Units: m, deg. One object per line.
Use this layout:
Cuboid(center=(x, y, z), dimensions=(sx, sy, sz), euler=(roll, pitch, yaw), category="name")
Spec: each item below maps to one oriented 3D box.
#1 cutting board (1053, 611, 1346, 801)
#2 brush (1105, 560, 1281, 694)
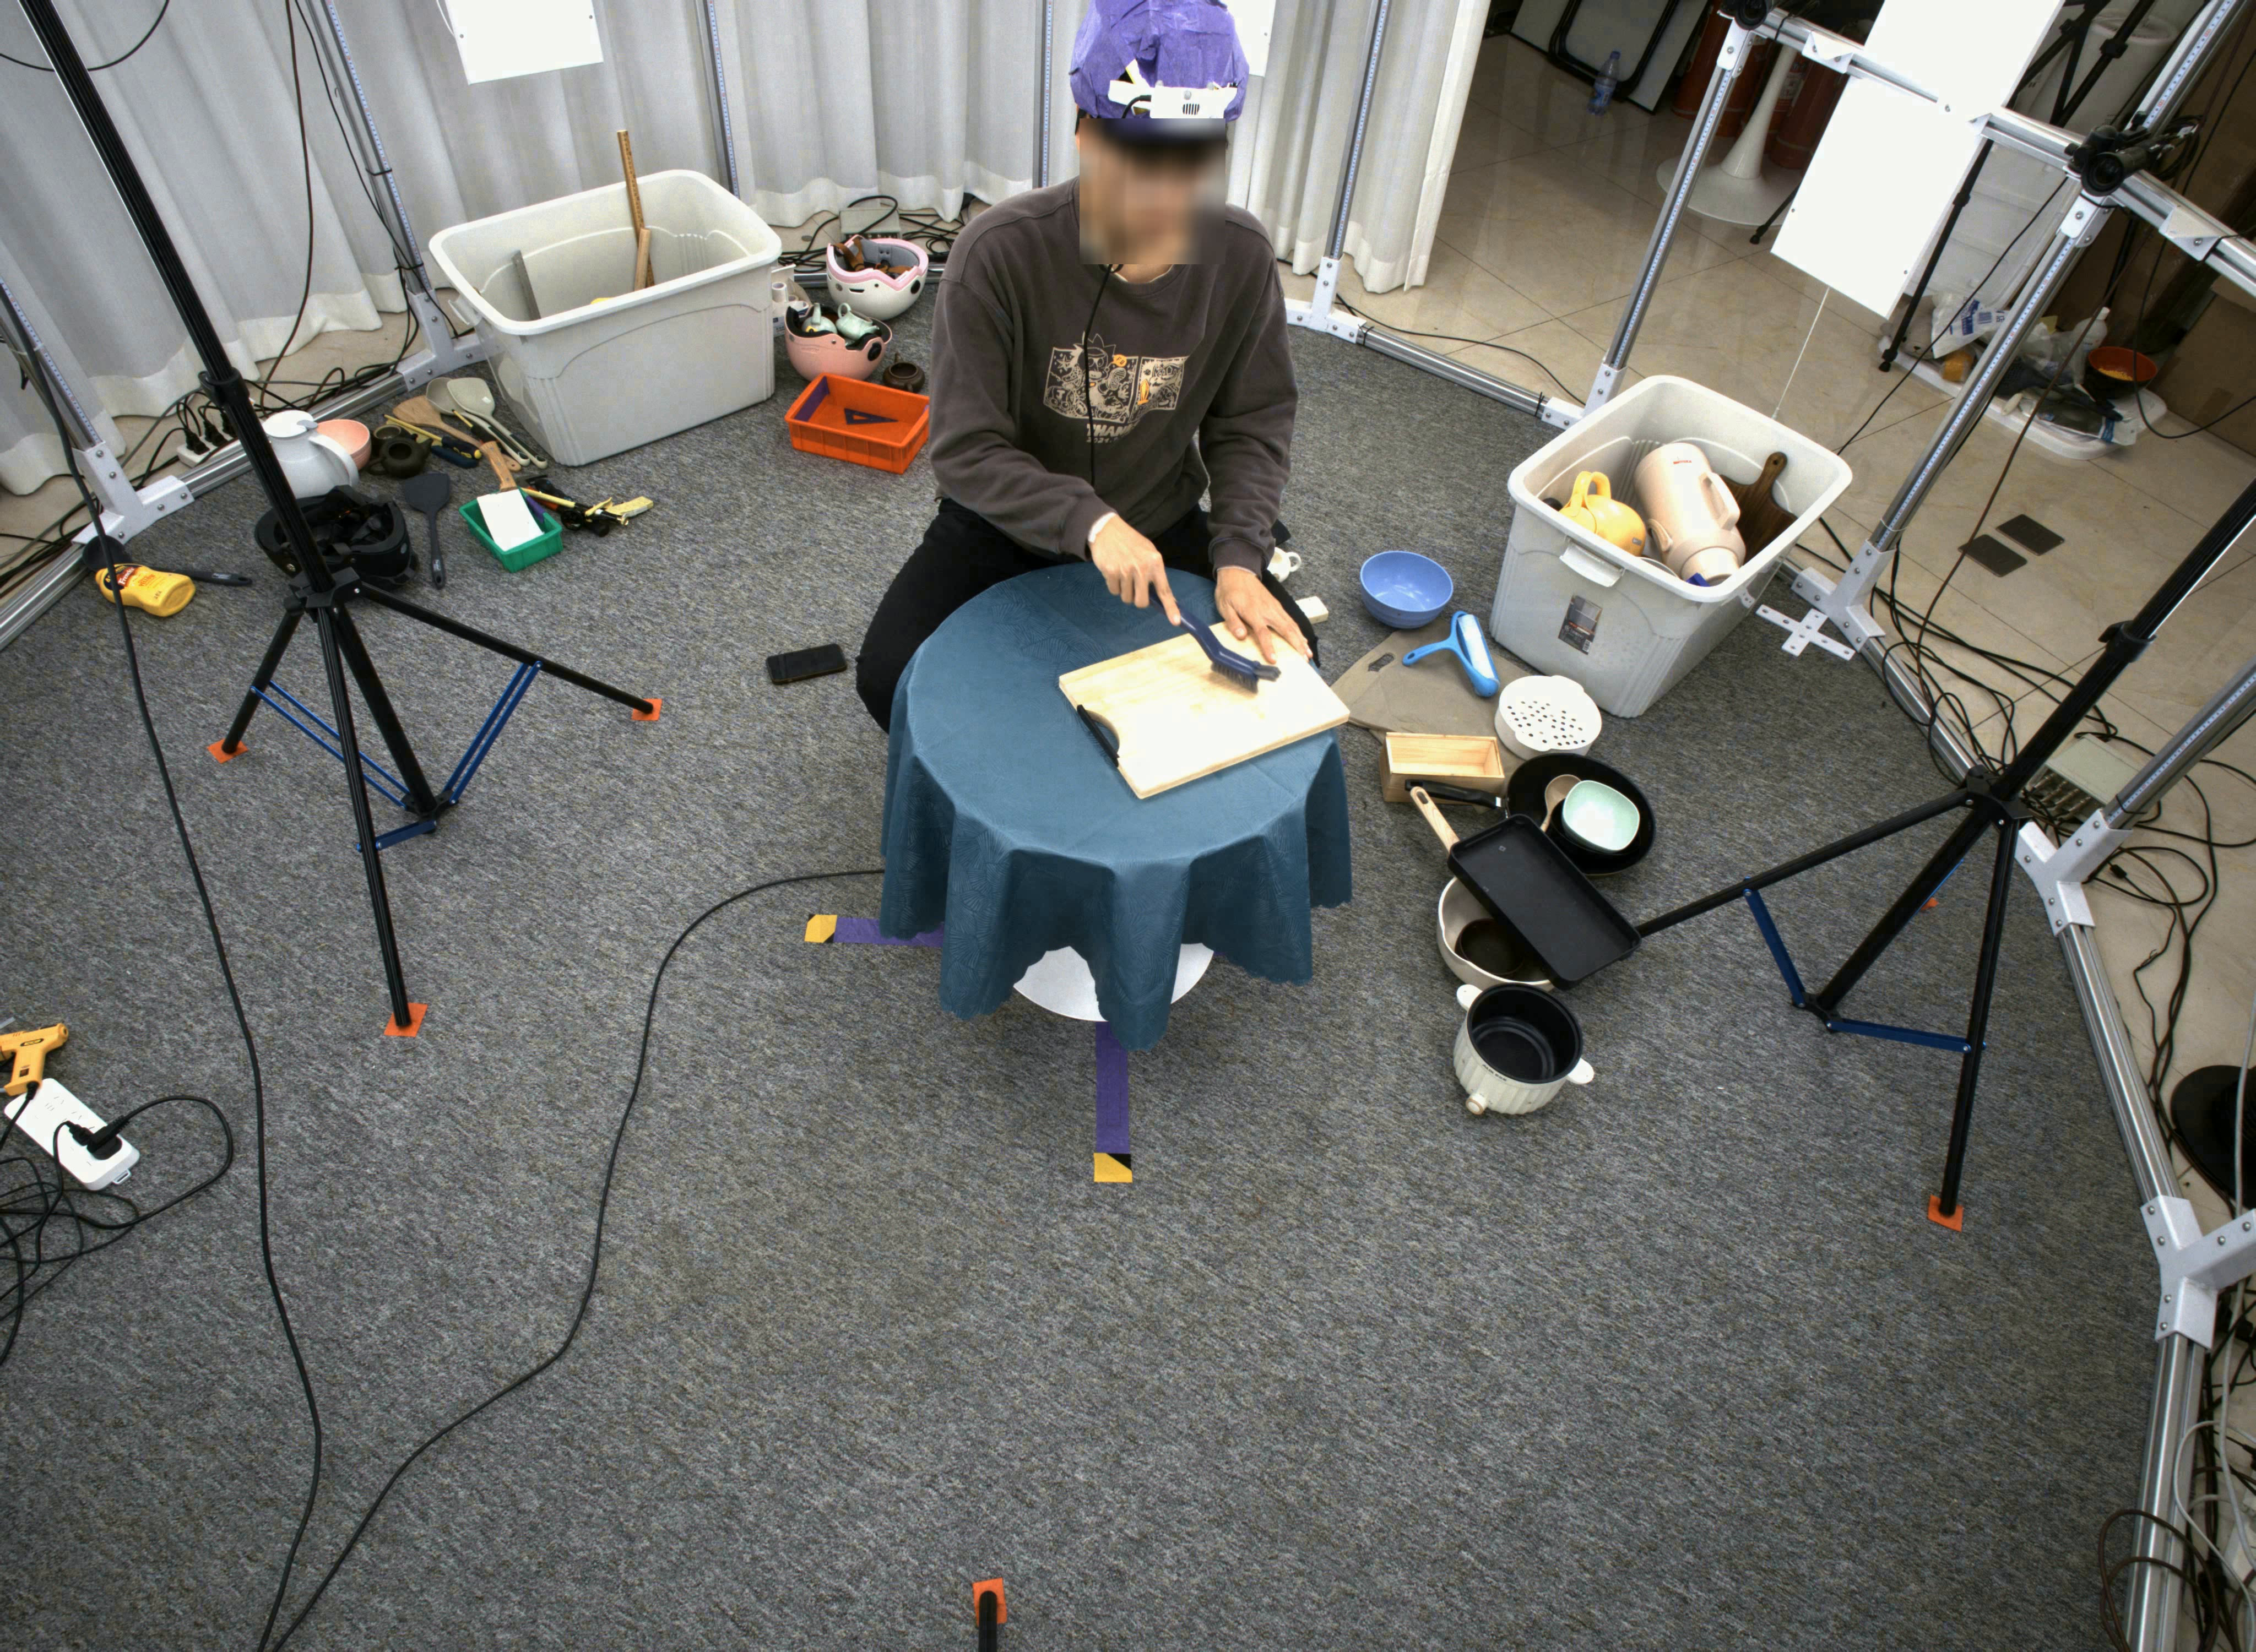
Cuboid(center=(0.102, -0.178, 1.817), dimensions=(0.349, 0.023, 0.256), euler=(-21, 53, -21), category="cutting board")
Cuboid(center=(0.090, -0.282, 1.785), dimensions=(0.272, 0.095, 0.034), euler=(40, 65, -5), category="brush")
